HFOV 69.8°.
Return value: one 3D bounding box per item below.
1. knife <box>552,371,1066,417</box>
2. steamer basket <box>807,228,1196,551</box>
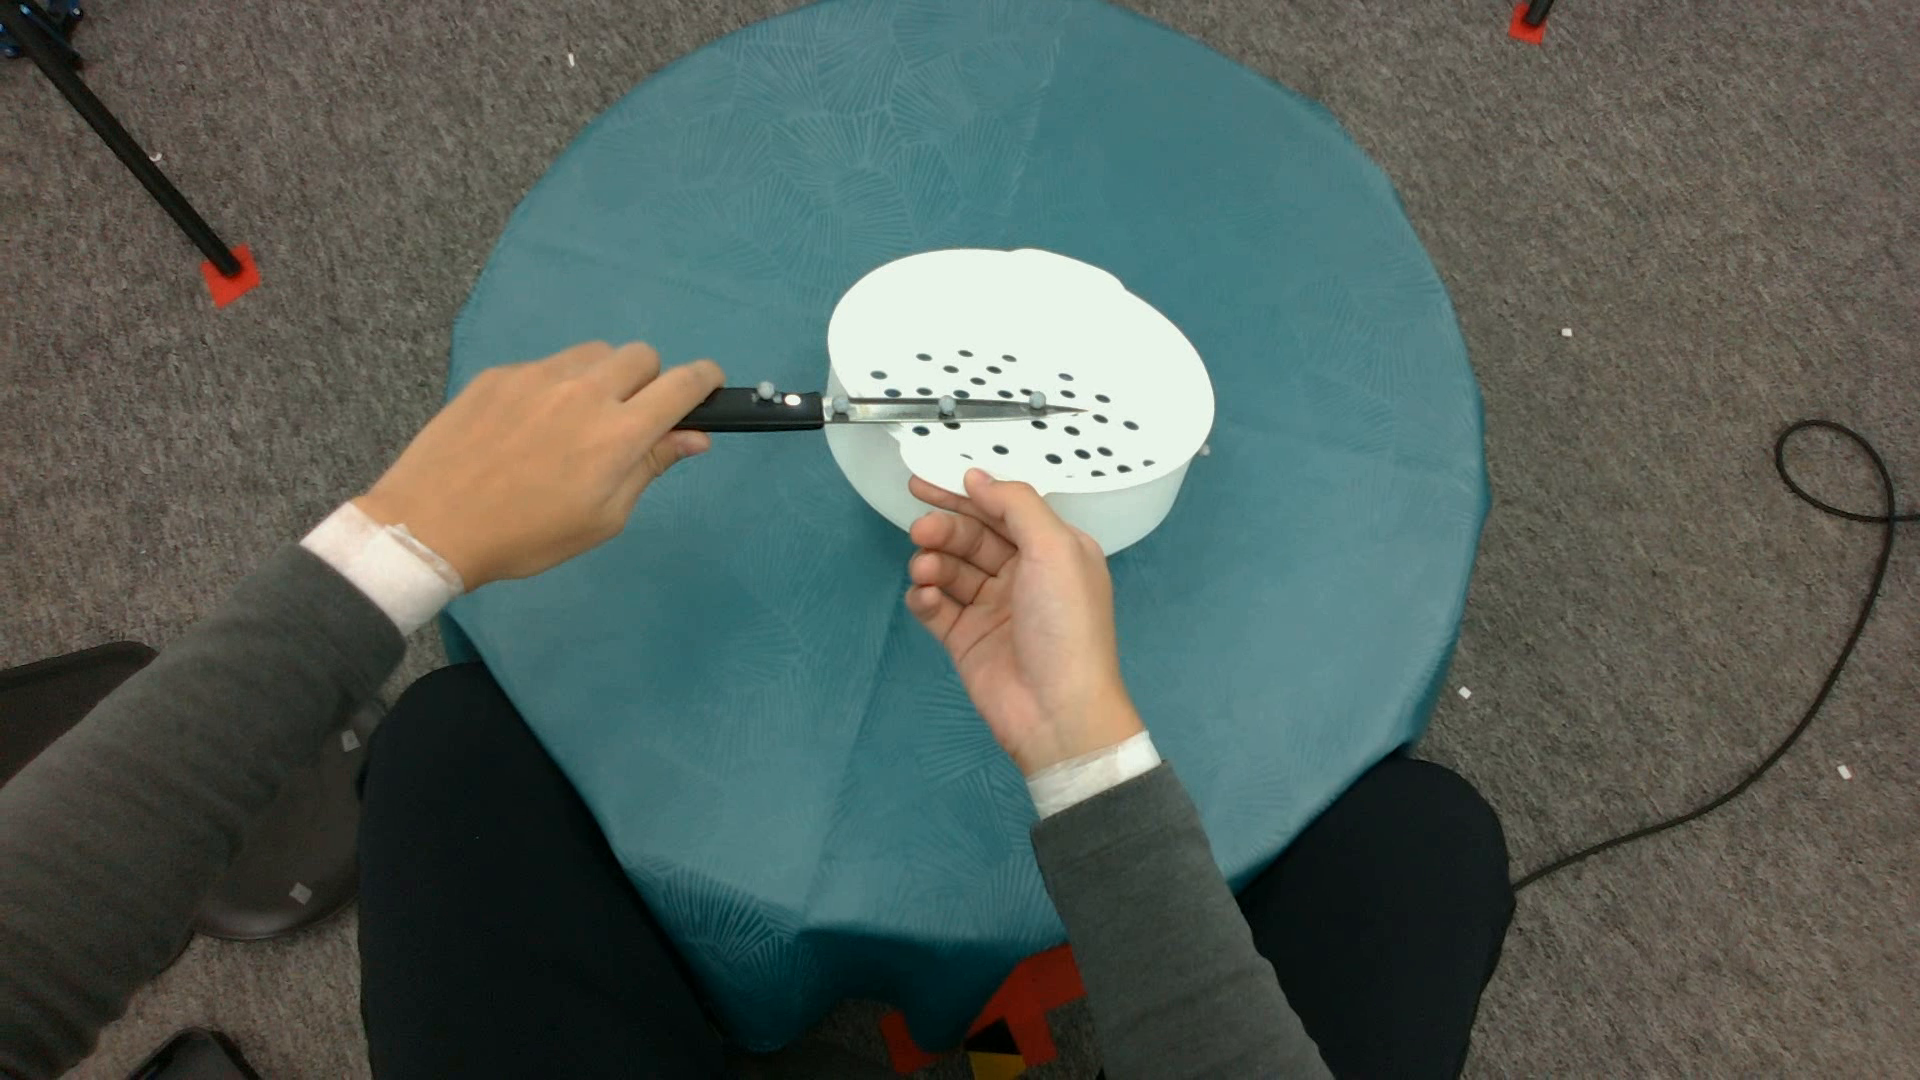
[{"bbox_3d":[-0.065,-0.068,0.636,0.238,0.016,0.024,-2,41,-11],"label":"knife"},{"bbox_3d":[0.018,-0.080,0.725,0.202,0.069,0.232,18,44,5],"label":"steamer basket"}]
